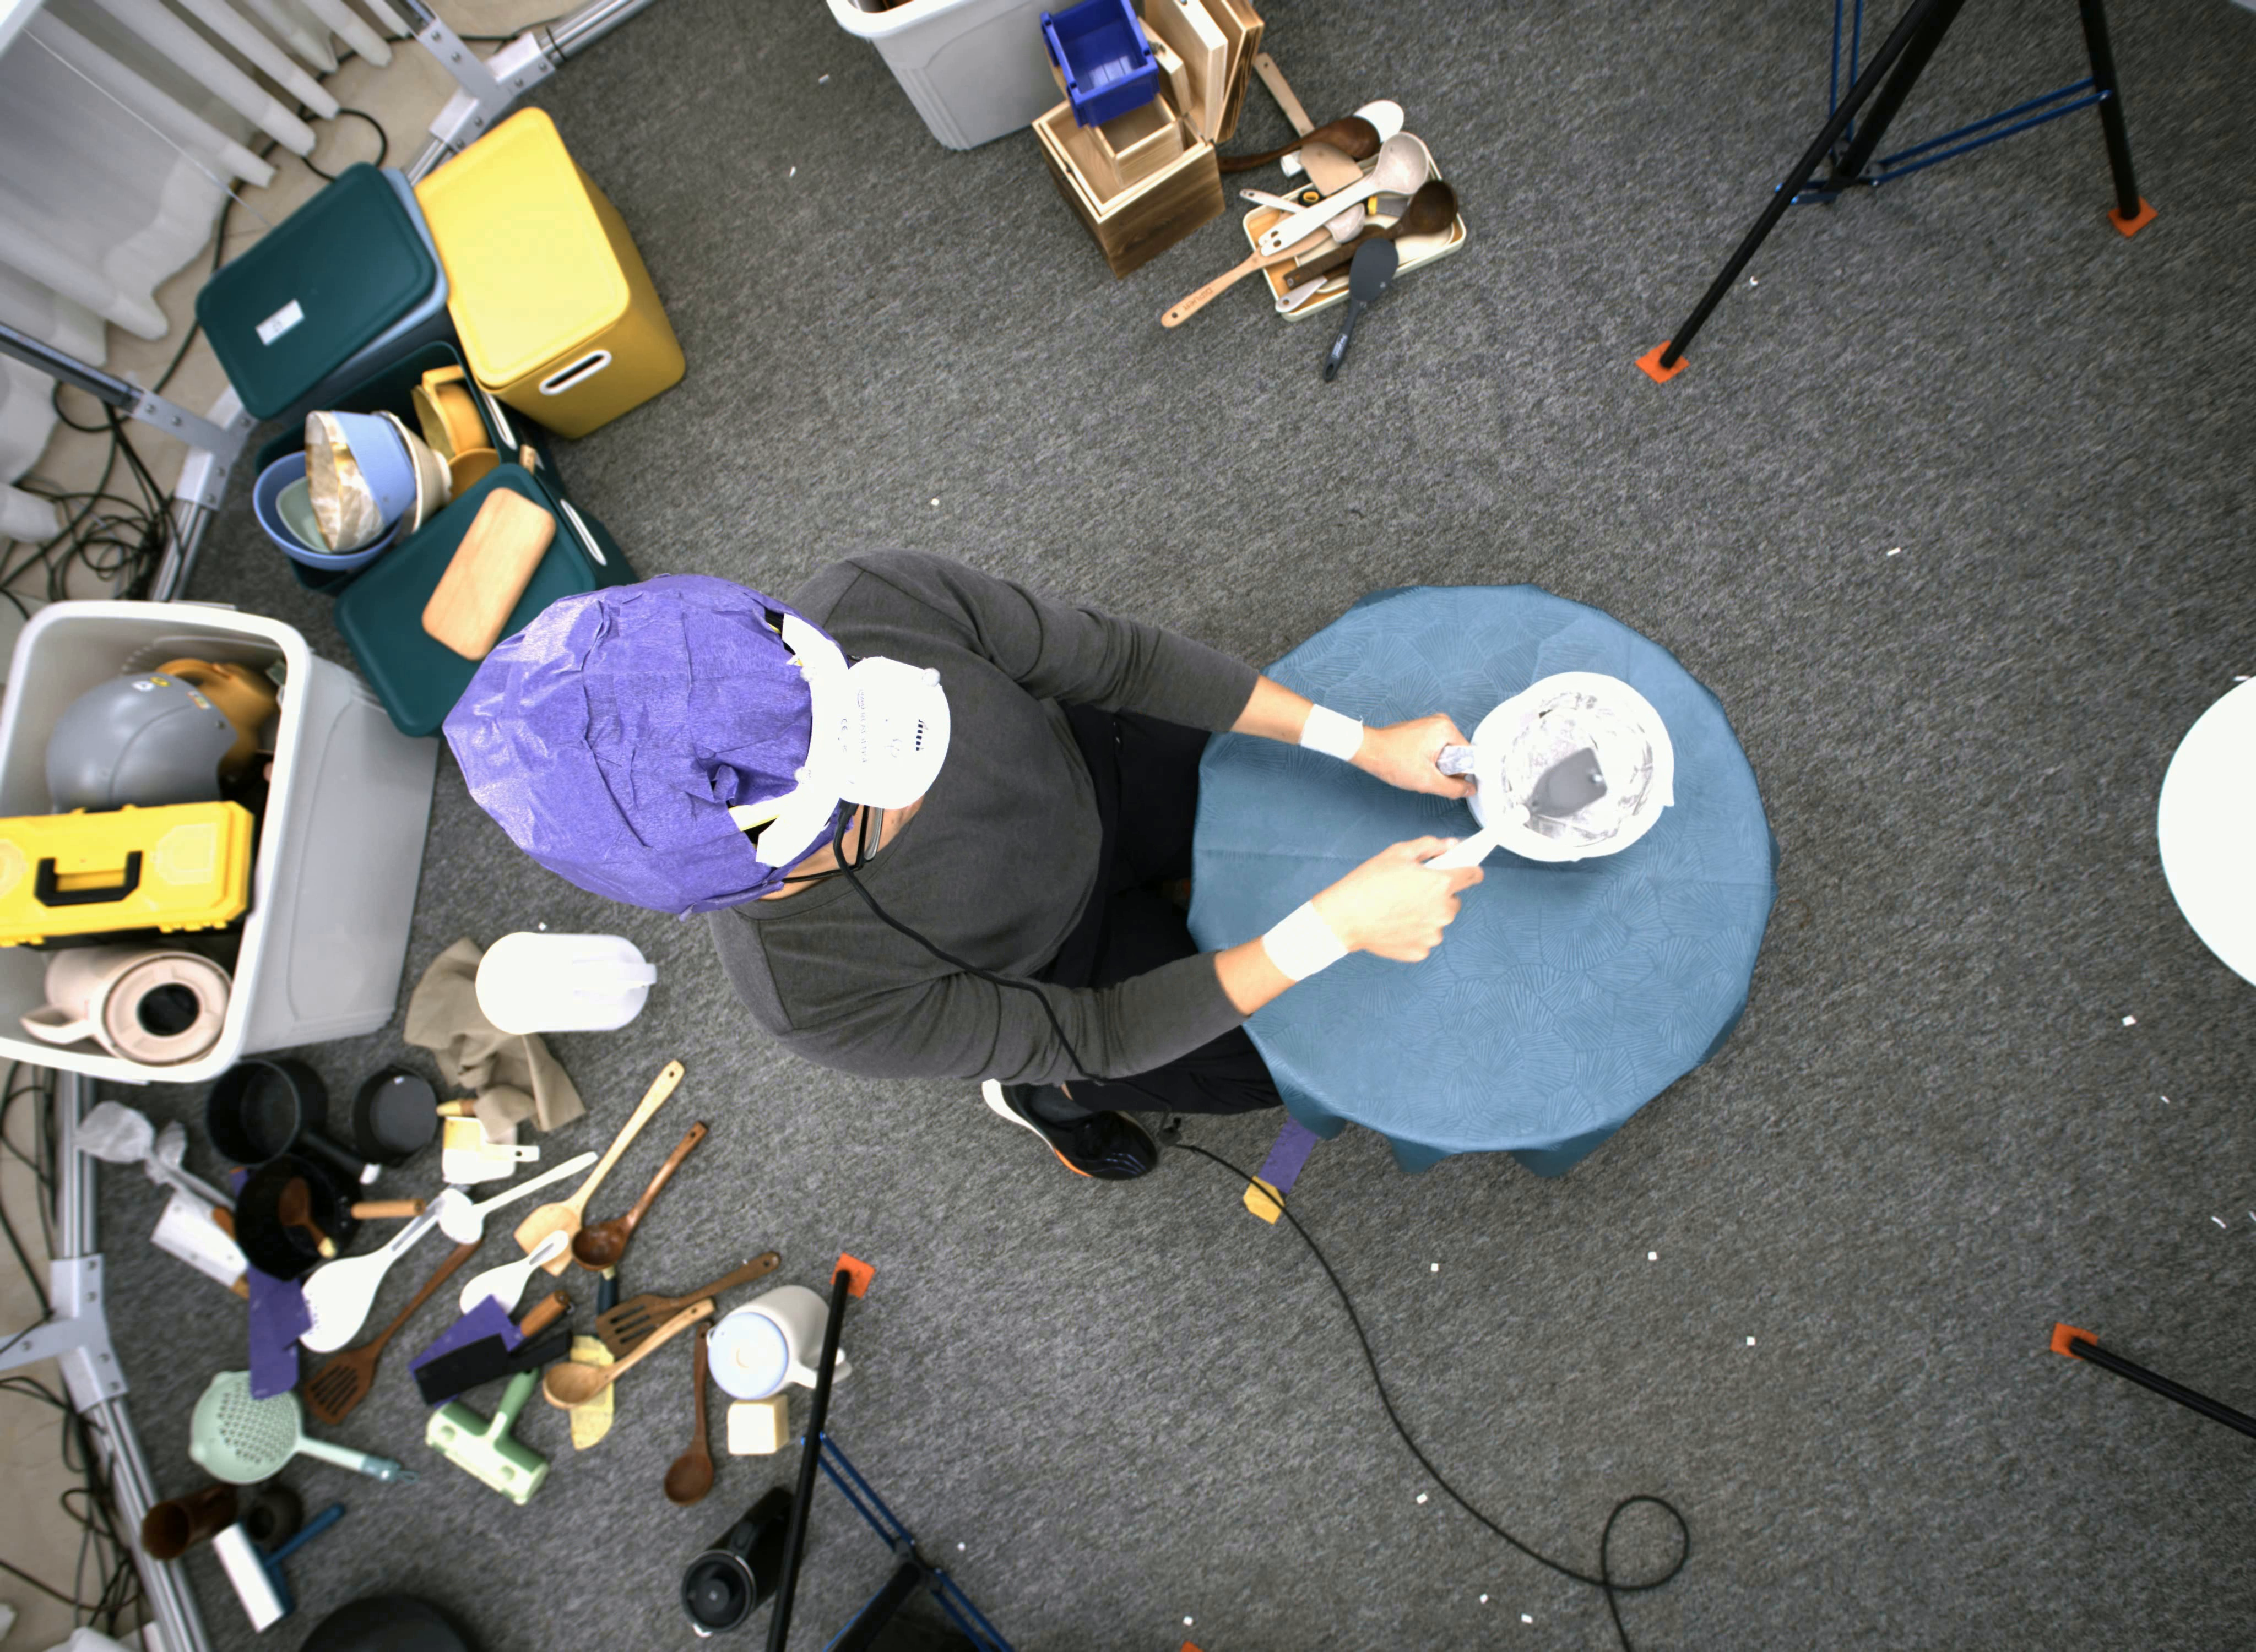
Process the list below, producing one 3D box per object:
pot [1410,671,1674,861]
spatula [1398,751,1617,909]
[{"bbox_3d":[0.403,-0.059,1.360,0.234,0.137,0.178,3,87,2],"label":"pot"},{"bbox_3d":[0.351,0.002,1.253,0.283,0.032,0.059,-26,93,-31],"label":"spatula"}]
